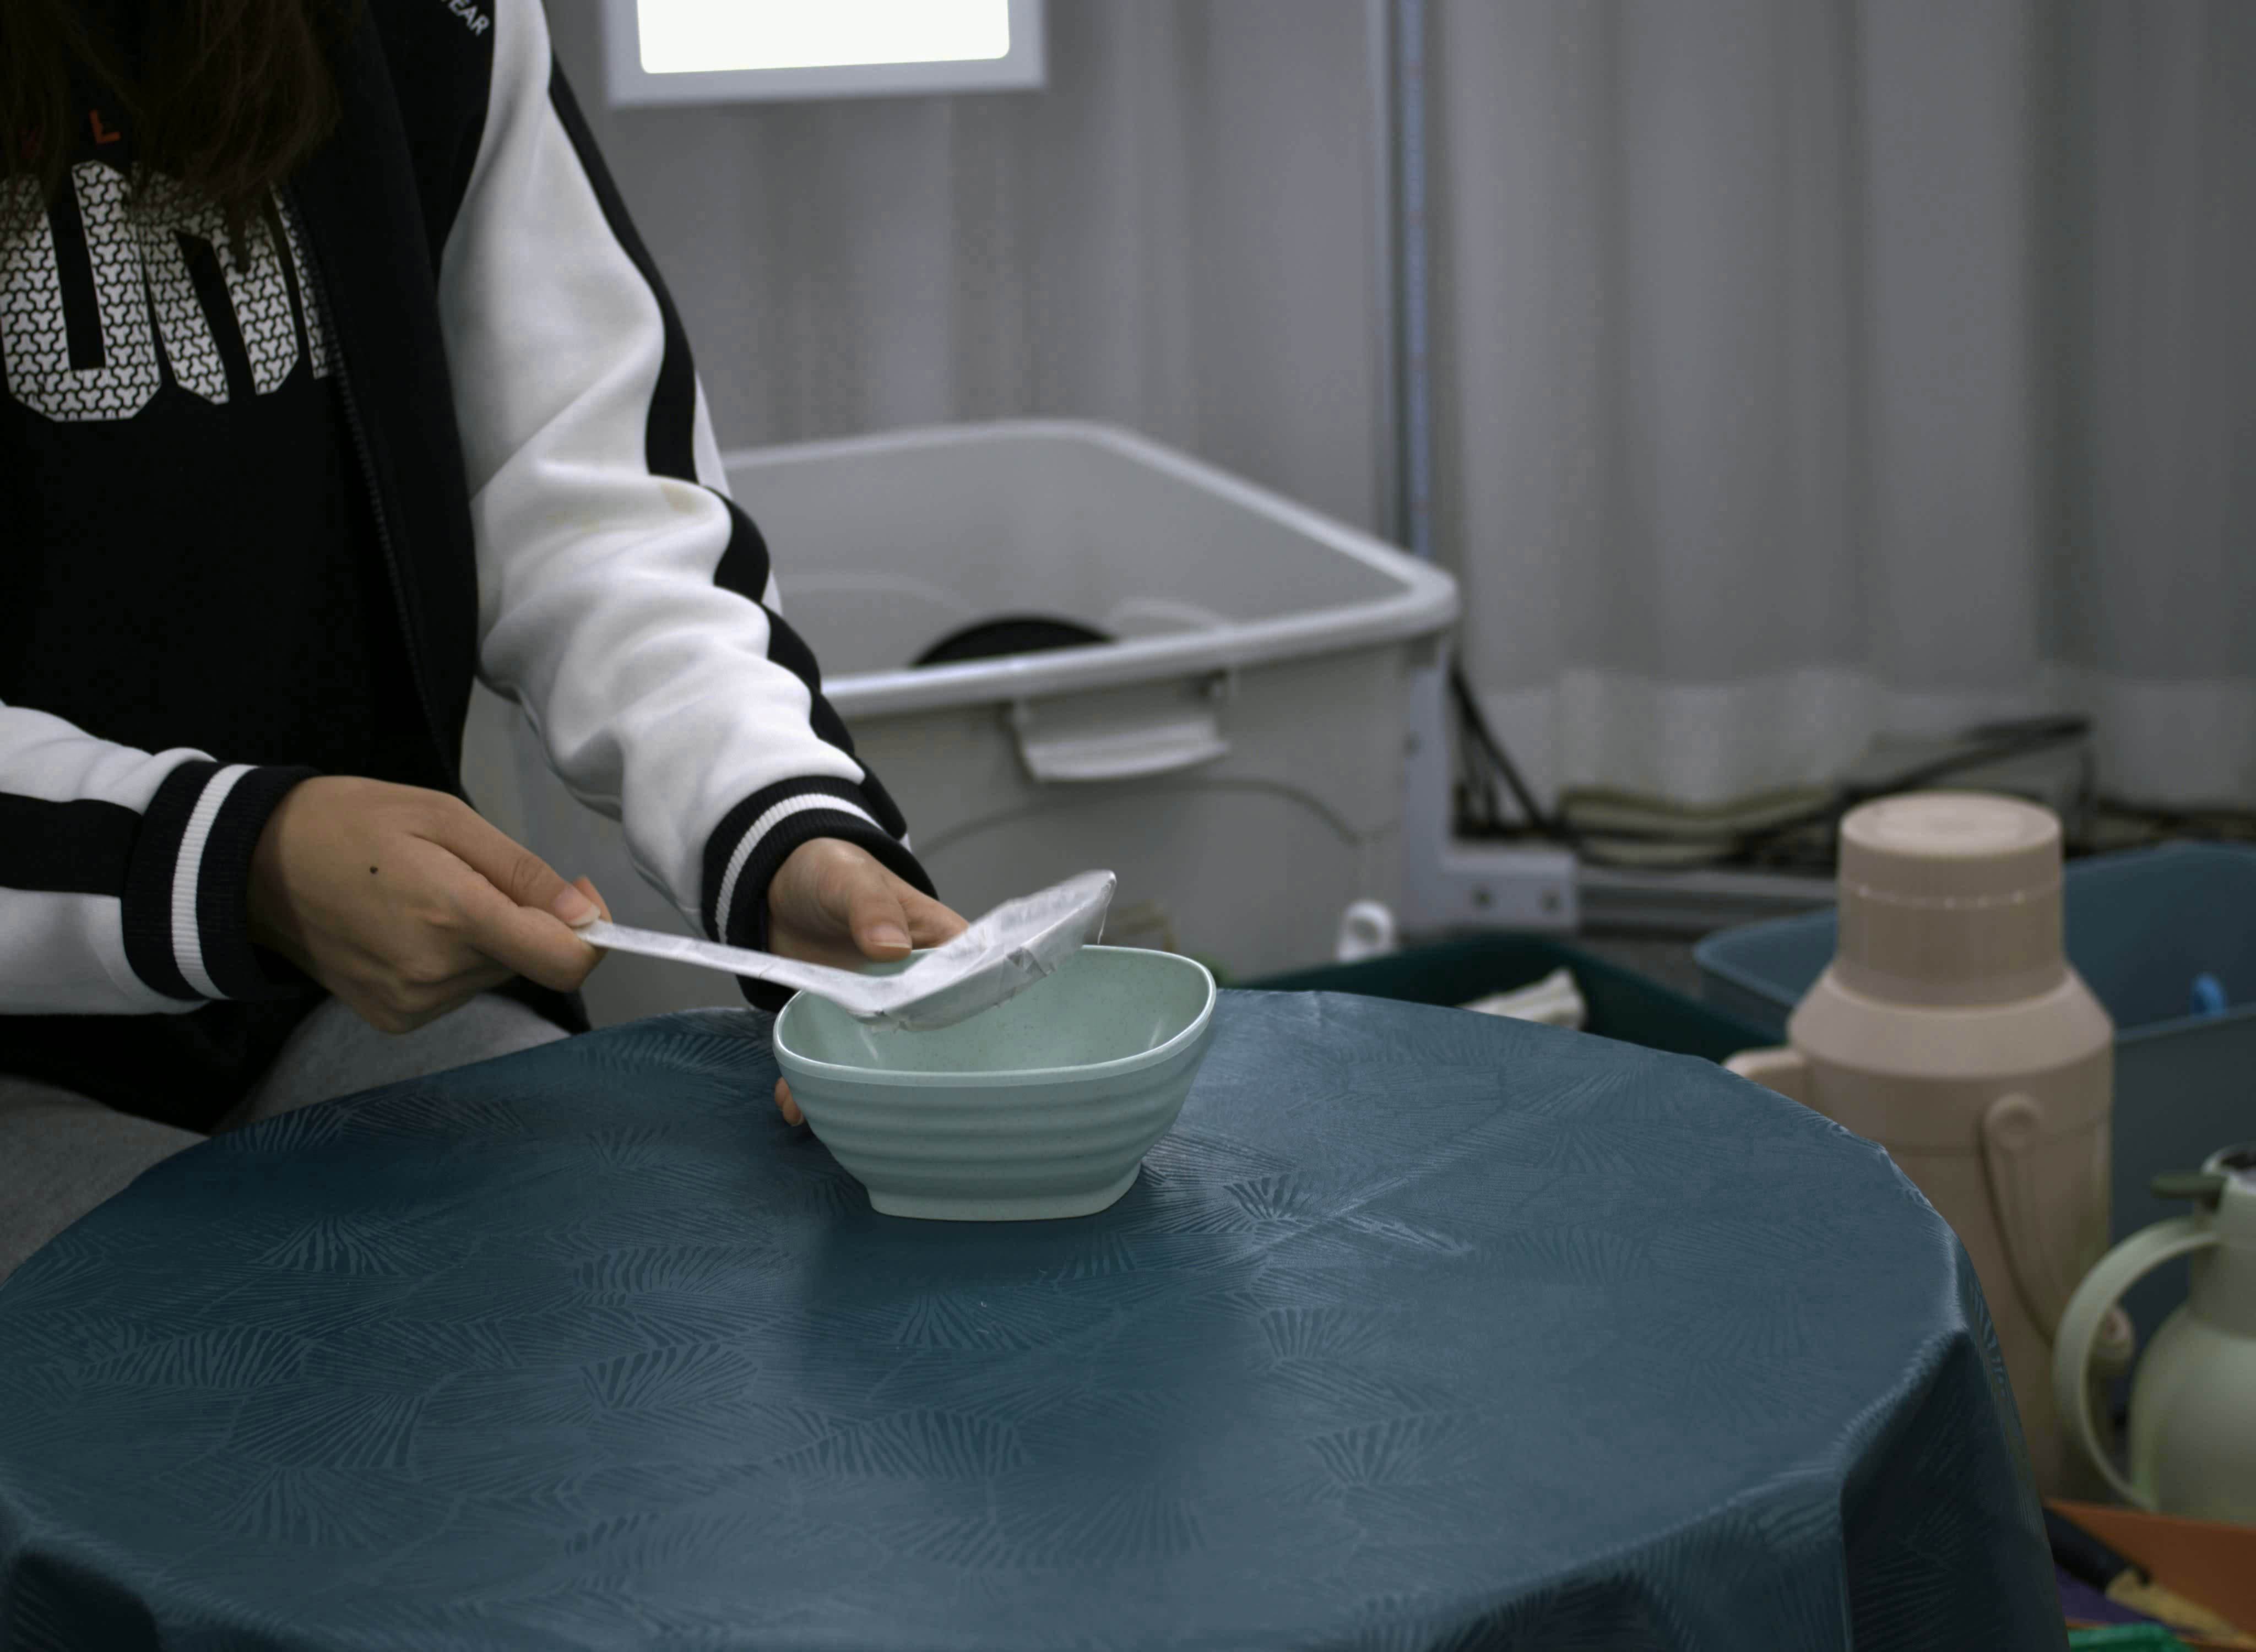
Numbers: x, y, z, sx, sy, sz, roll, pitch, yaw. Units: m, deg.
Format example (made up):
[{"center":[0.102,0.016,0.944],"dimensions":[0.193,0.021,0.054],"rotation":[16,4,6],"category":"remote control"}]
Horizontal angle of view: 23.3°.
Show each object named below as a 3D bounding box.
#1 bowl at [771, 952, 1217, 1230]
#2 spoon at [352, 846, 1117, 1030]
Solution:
[{"center":[-0.041,0.087,1.726],"dimensions":[0.151,0.058,0.152],"rotation":[-3,15,0],"category":"bowl"},{"center":[-0.130,0.016,1.745],"dimensions":[0.278,0.059,0.101],"rotation":[14,20,27],"category":"spoon"}]
